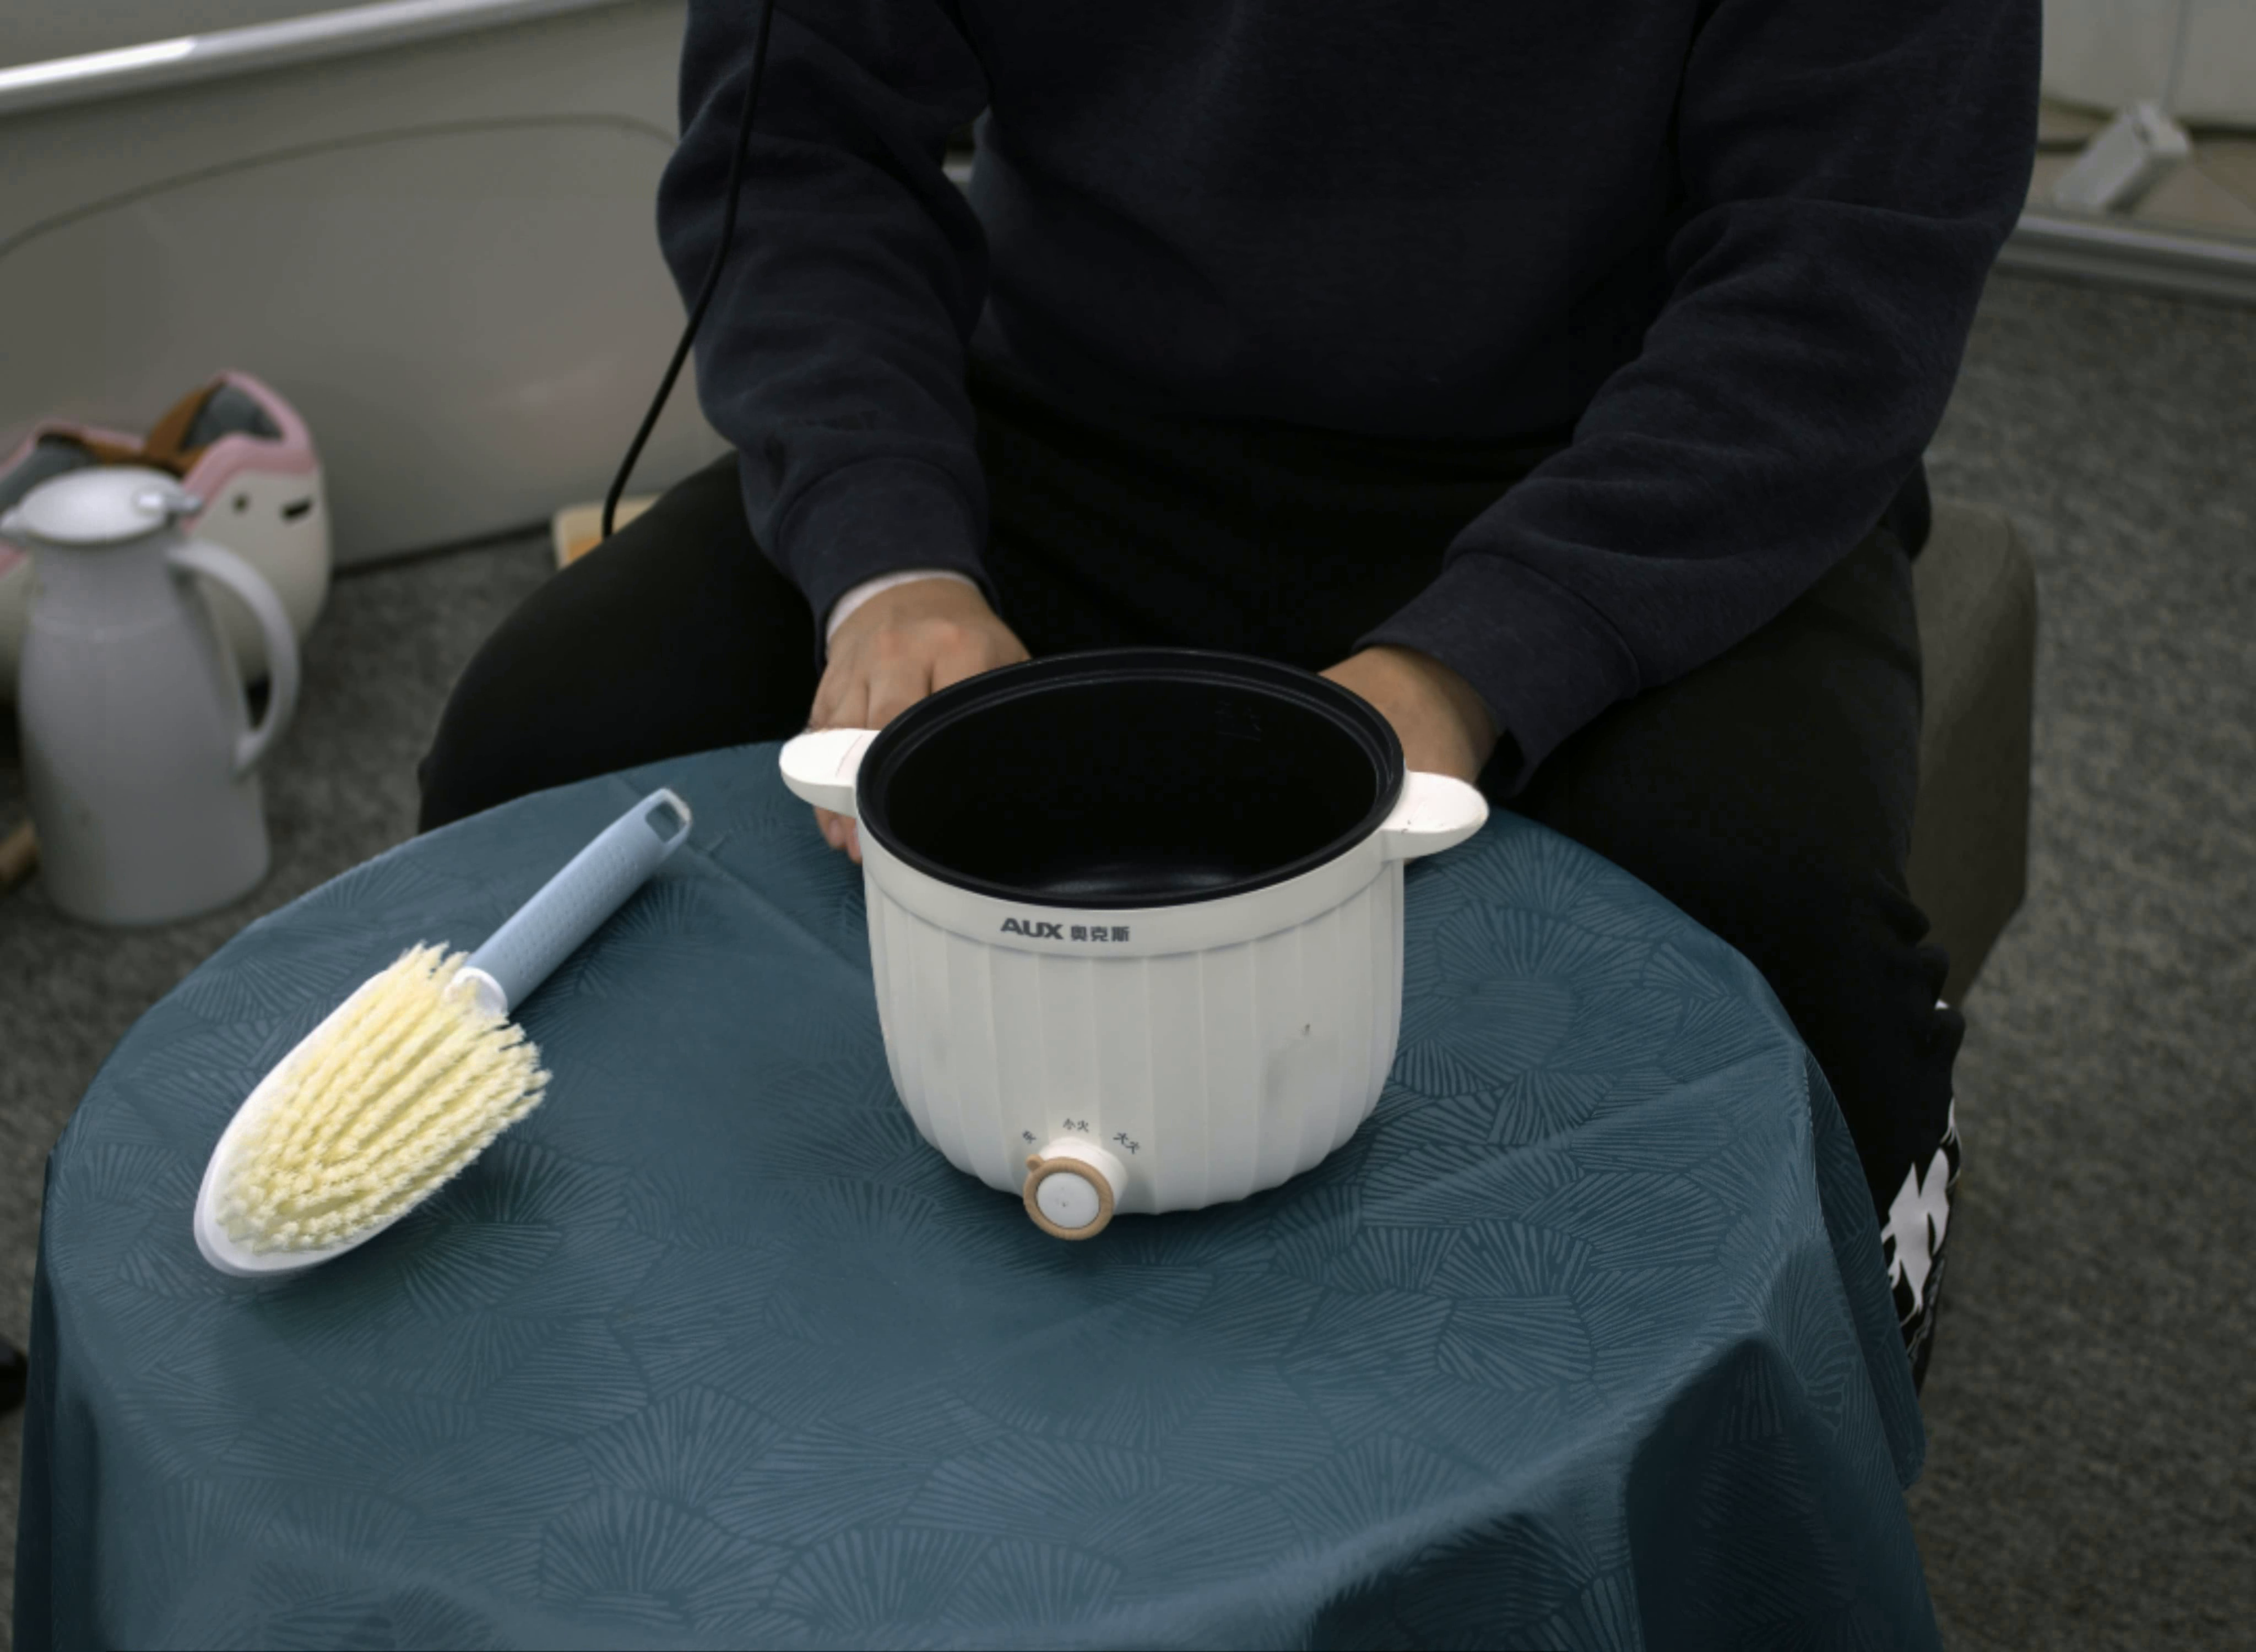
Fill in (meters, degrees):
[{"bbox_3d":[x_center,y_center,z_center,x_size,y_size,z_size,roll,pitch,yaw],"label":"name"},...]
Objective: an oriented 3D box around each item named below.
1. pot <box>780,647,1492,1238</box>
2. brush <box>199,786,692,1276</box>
[{"bbox_3d":[0.003,0.042,1.870,0.239,0.141,0.193,3,24,13],"label":"pot"},{"bbox_3d":[-0.215,0.049,1.936,0.084,0.082,0.331,5,29,23],"label":"brush"}]
